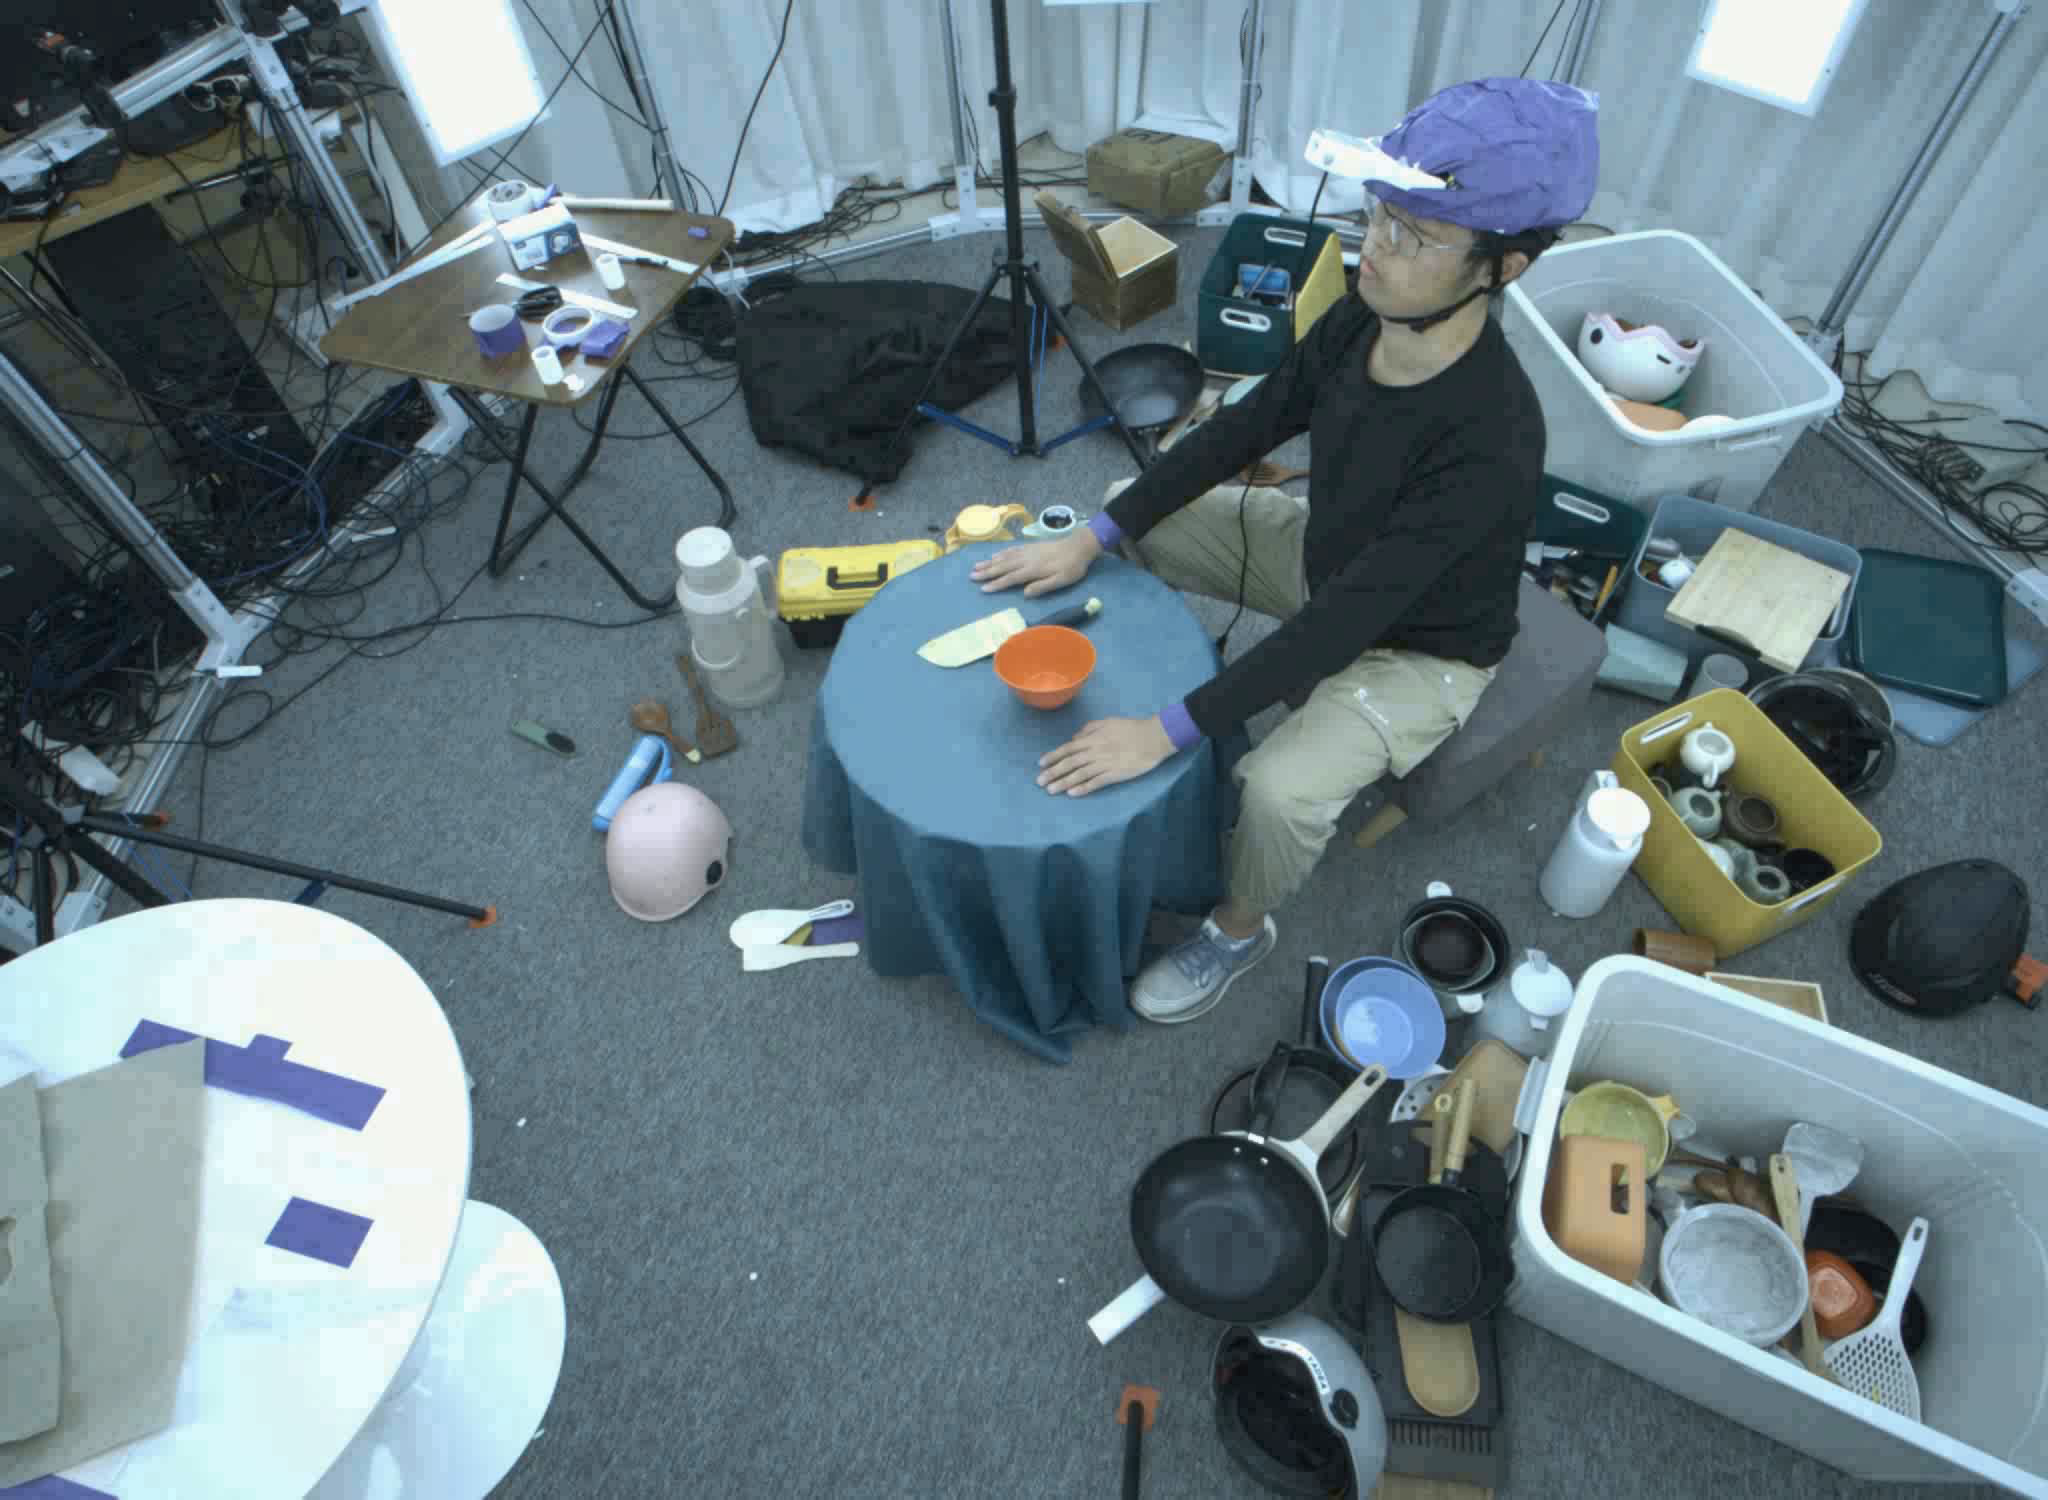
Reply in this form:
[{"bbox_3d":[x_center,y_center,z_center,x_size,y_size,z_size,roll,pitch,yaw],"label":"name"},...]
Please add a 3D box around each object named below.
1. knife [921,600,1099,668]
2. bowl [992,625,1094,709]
[{"bbox_3d":[-0.023,-0.189,1.910,0.291,0.027,0.079,-18,57,-10],"label":"knife"},{"bbox_3d":[0.030,-0.108,1.797,0.148,0.106,0.146,-1,53,3],"label":"bowl"}]
